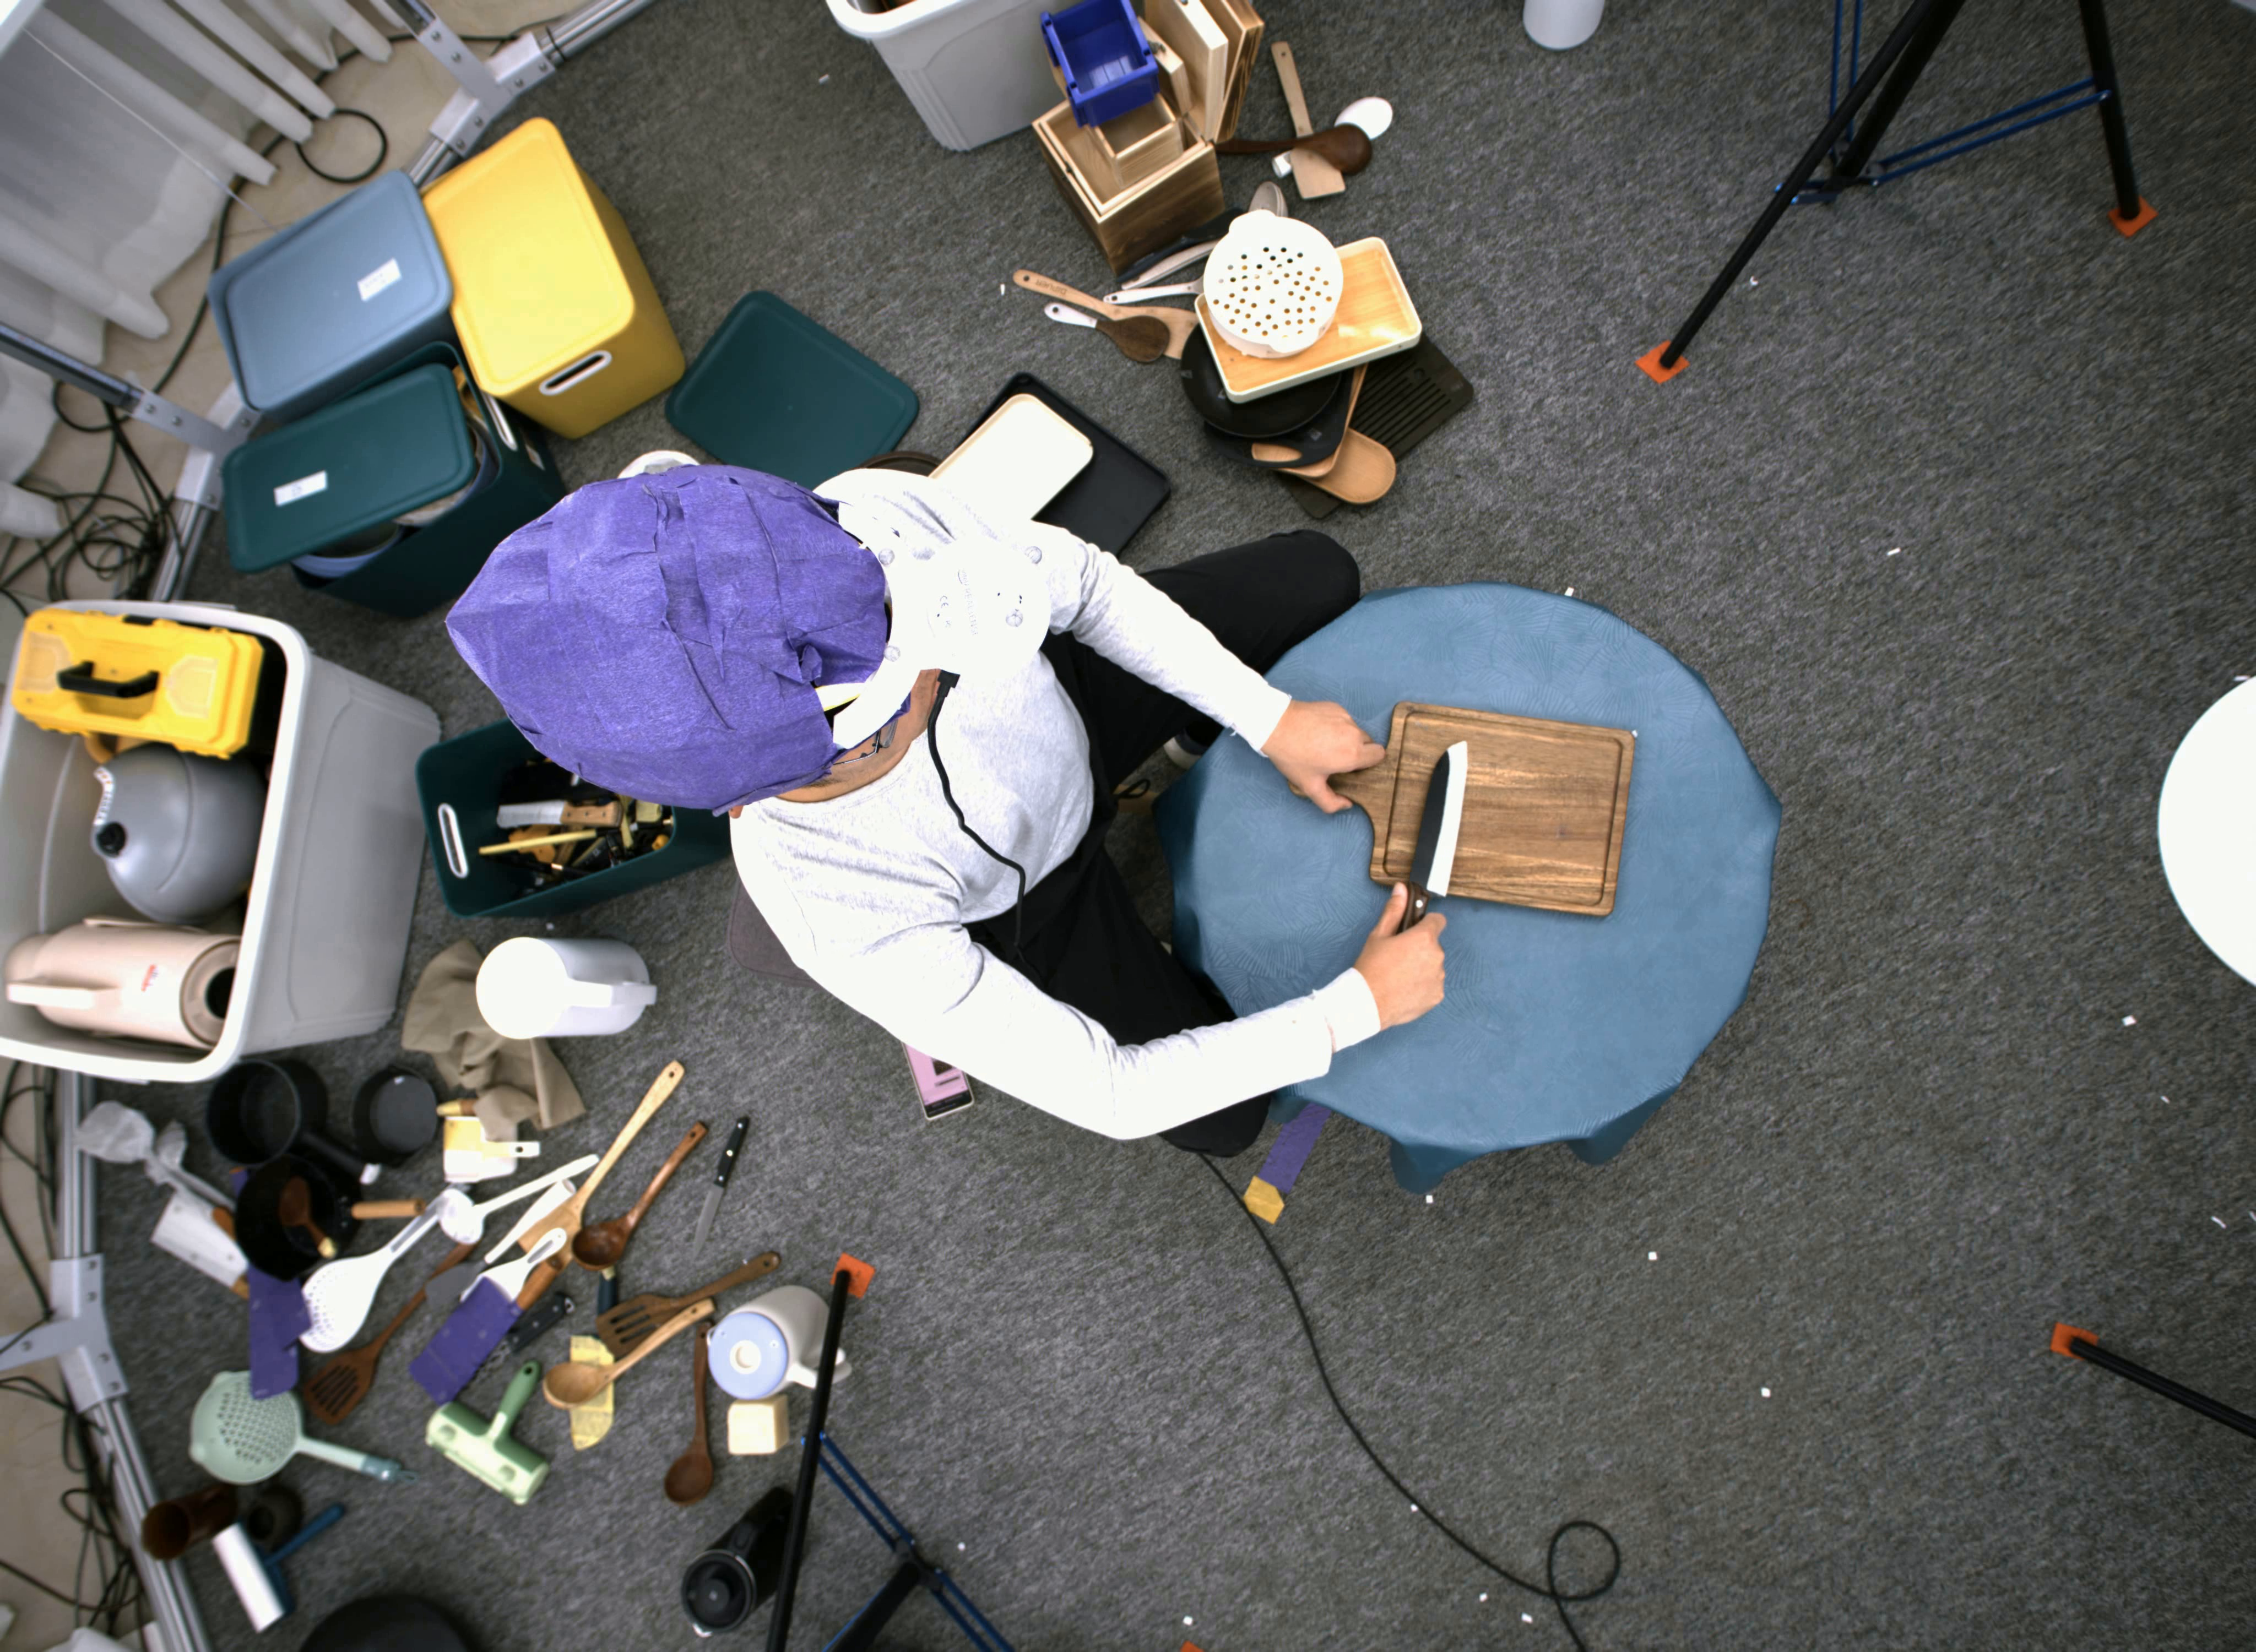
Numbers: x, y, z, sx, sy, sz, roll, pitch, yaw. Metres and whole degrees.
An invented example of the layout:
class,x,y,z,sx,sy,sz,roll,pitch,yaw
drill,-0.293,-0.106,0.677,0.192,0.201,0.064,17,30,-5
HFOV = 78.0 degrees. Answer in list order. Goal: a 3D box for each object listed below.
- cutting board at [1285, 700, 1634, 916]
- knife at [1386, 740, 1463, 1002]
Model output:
class,x,y,z,sx,sy,sz,roll,pitch,yaw
cutting board,0.340,-0.029,1.440,0.353,0.023,0.200,8,88,10
knife,0.306,0.042,1.408,0.050,0.020,0.286,19,79,-16
